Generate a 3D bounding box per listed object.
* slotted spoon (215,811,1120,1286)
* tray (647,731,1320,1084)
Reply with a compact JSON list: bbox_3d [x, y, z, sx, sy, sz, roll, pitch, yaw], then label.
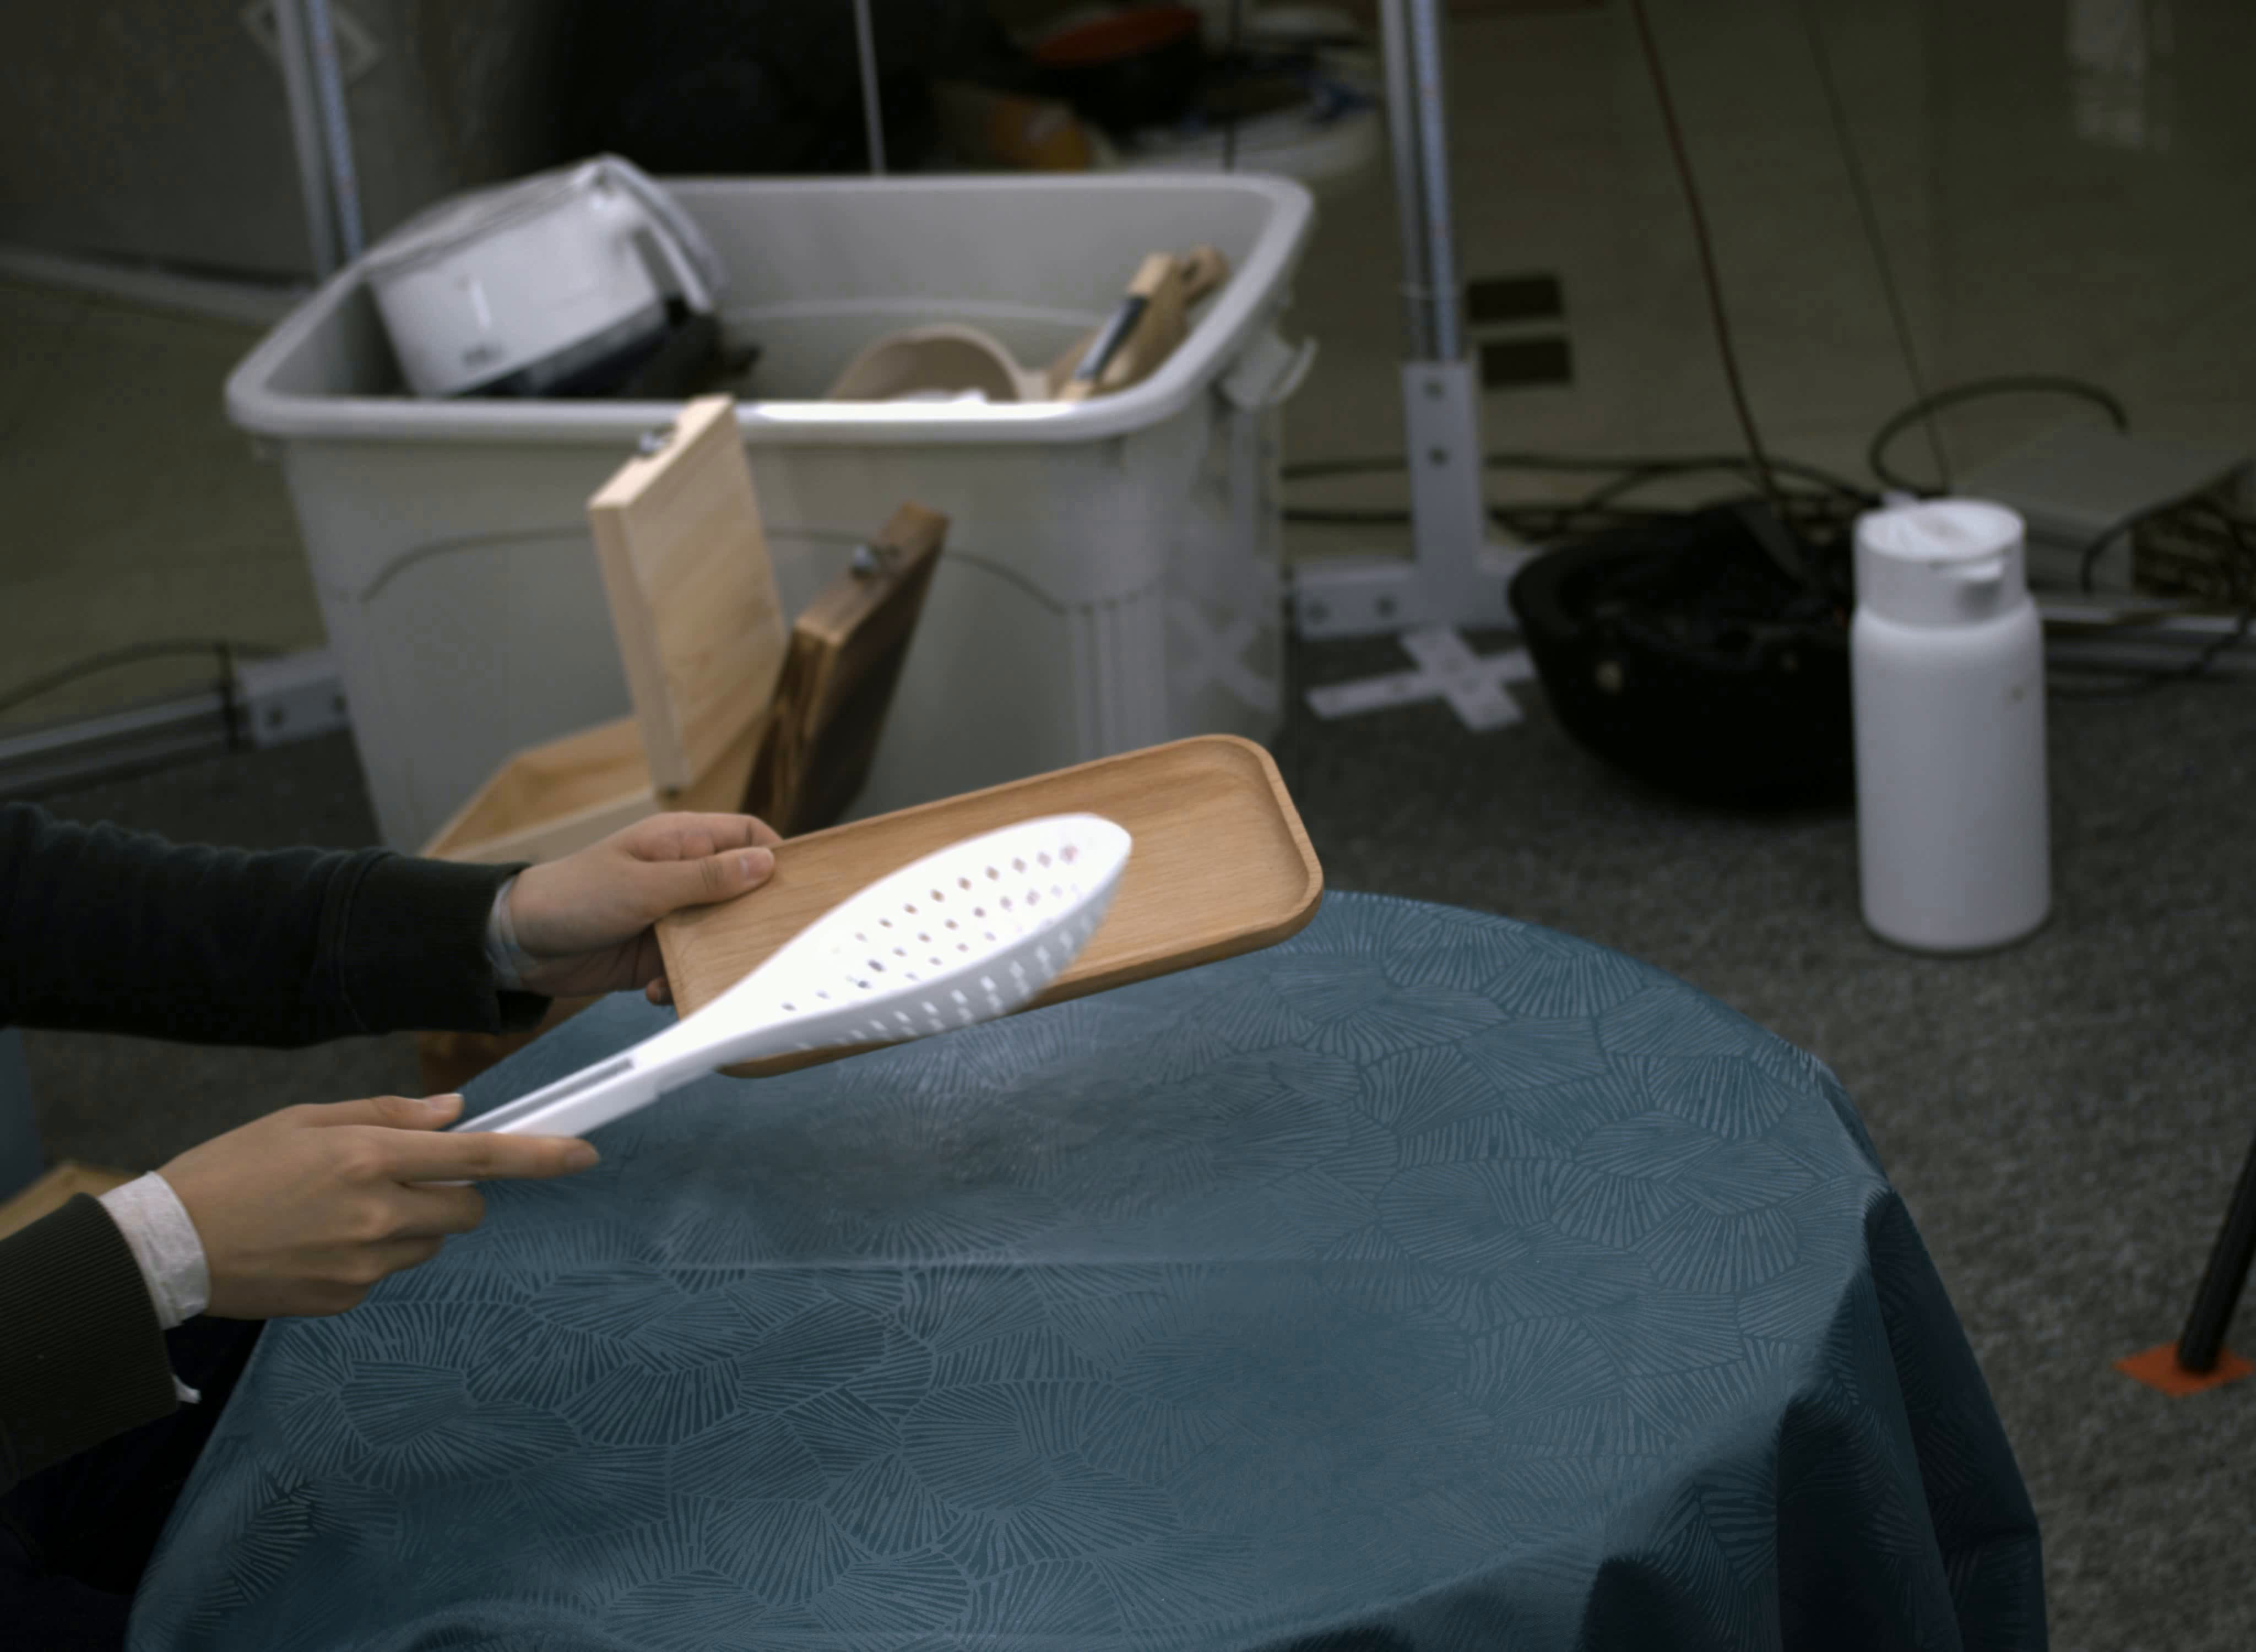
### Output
[{"bbox_3d":[-0.160,0.079,1.996,0.349,0.046,0.135,-21,15,-4],"label":"slotted spoon"},{"bbox_3d":[-0.056,0.031,2.169,0.250,0.023,0.128,-15,38,-4],"label":"tray"}]
